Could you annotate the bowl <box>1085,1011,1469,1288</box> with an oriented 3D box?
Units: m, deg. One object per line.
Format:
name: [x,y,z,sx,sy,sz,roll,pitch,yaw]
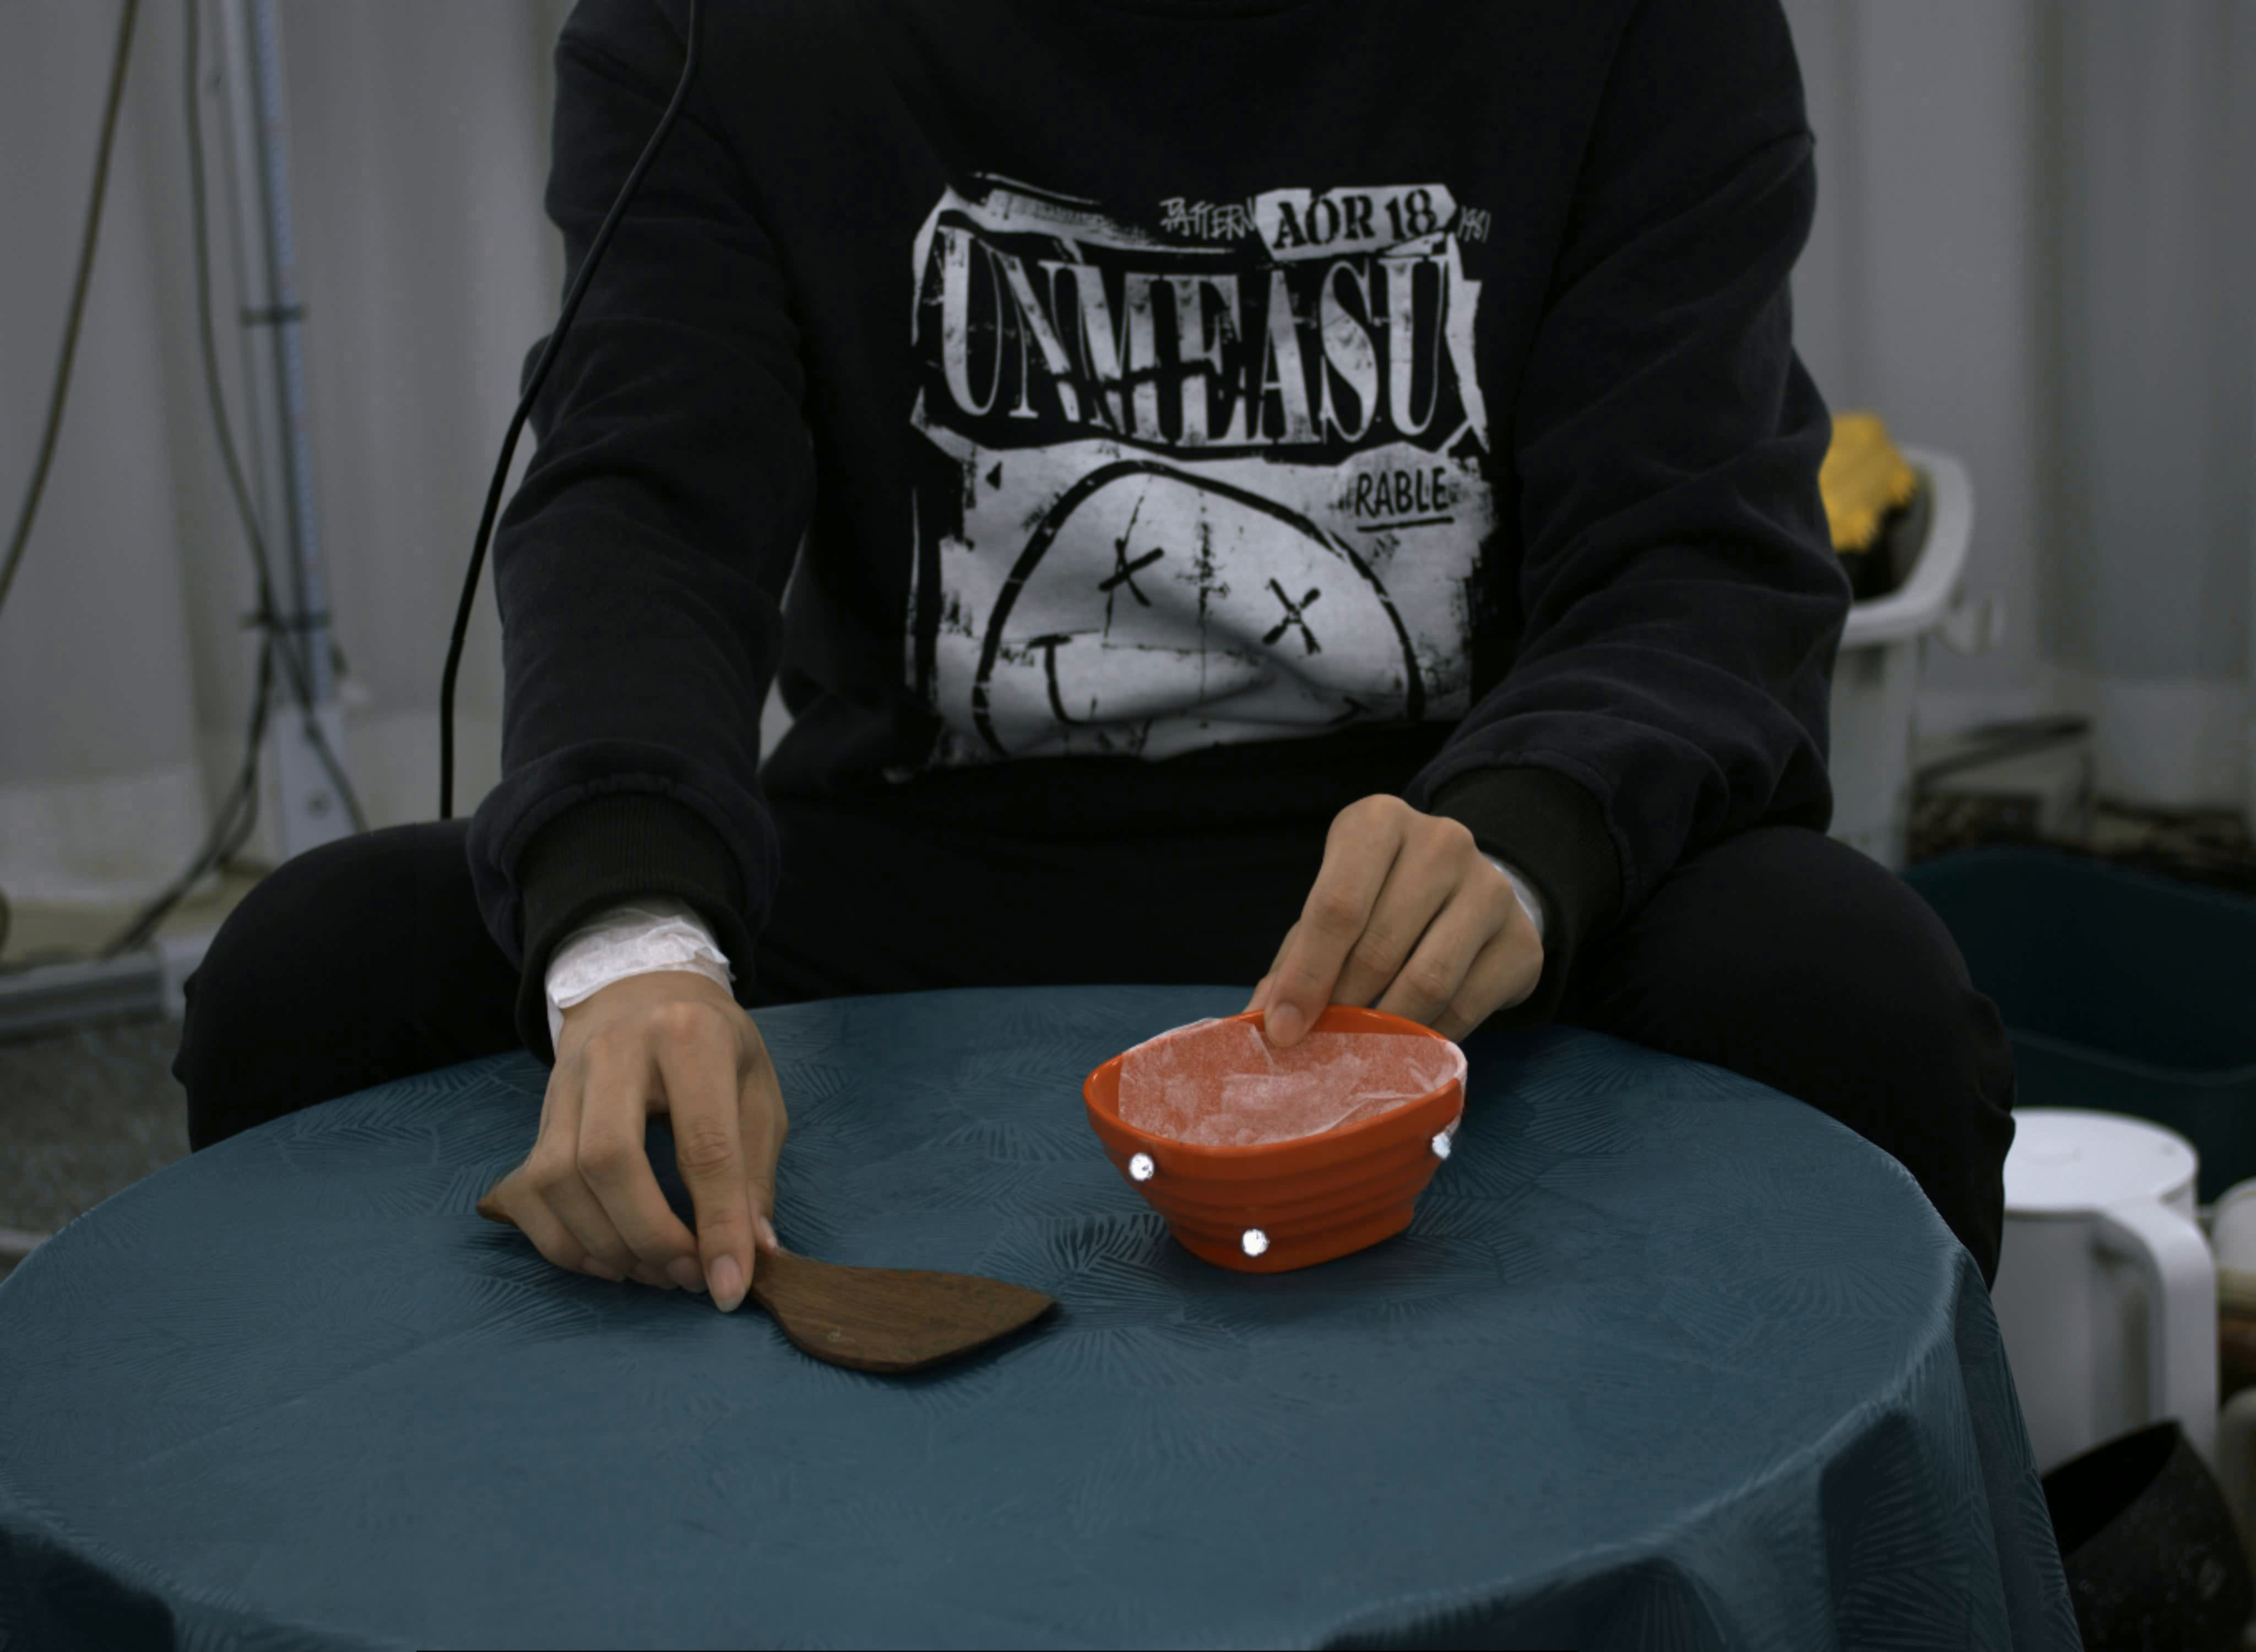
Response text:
bowl: [0.049,0.101,1.662,0.118,0.051,0.120,-10,18,3]

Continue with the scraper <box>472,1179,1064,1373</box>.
scraper: [-0.116,0.132,1.643,0.212,0.011,0.076,12,20,38]
